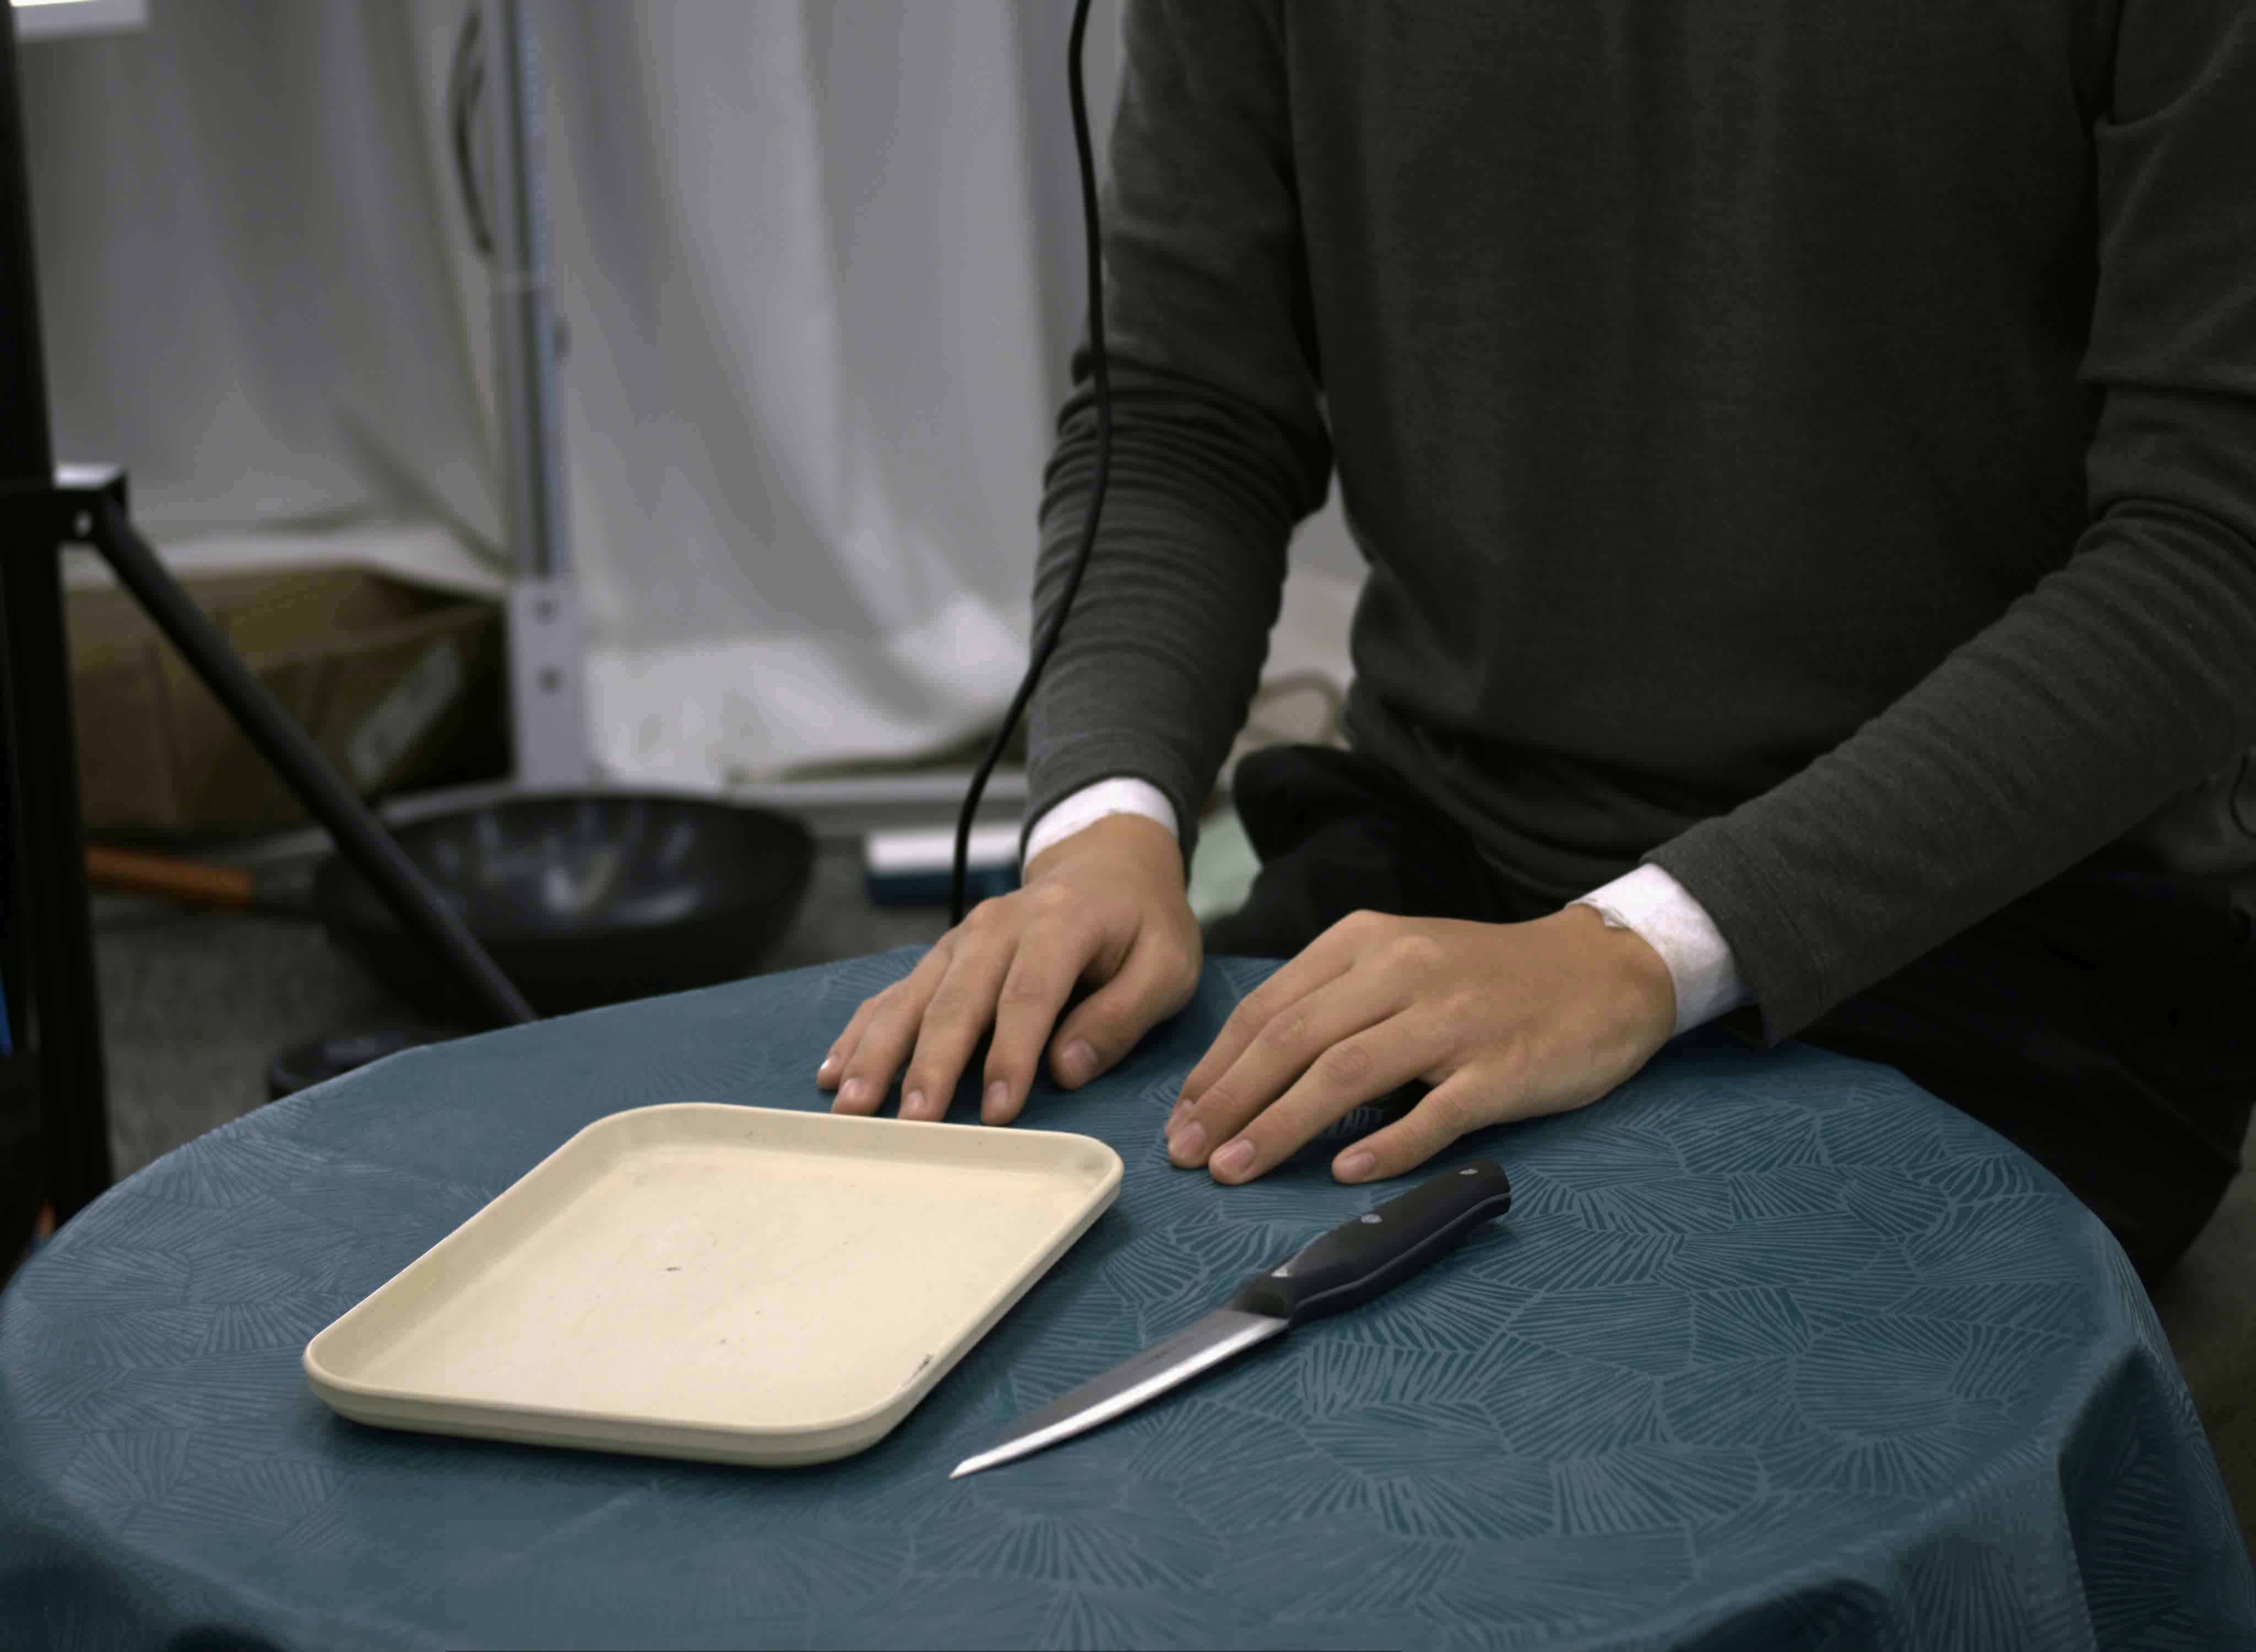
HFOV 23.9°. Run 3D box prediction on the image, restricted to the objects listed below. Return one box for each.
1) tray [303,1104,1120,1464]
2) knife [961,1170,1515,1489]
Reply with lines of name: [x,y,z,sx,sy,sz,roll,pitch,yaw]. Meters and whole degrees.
tray: [-0.110,0.126,1.483,0.173,0.017,0.237,3,16,20]
knife: [0.031,0.136,1.438,0.025,0.016,0.233,7,21,40]
